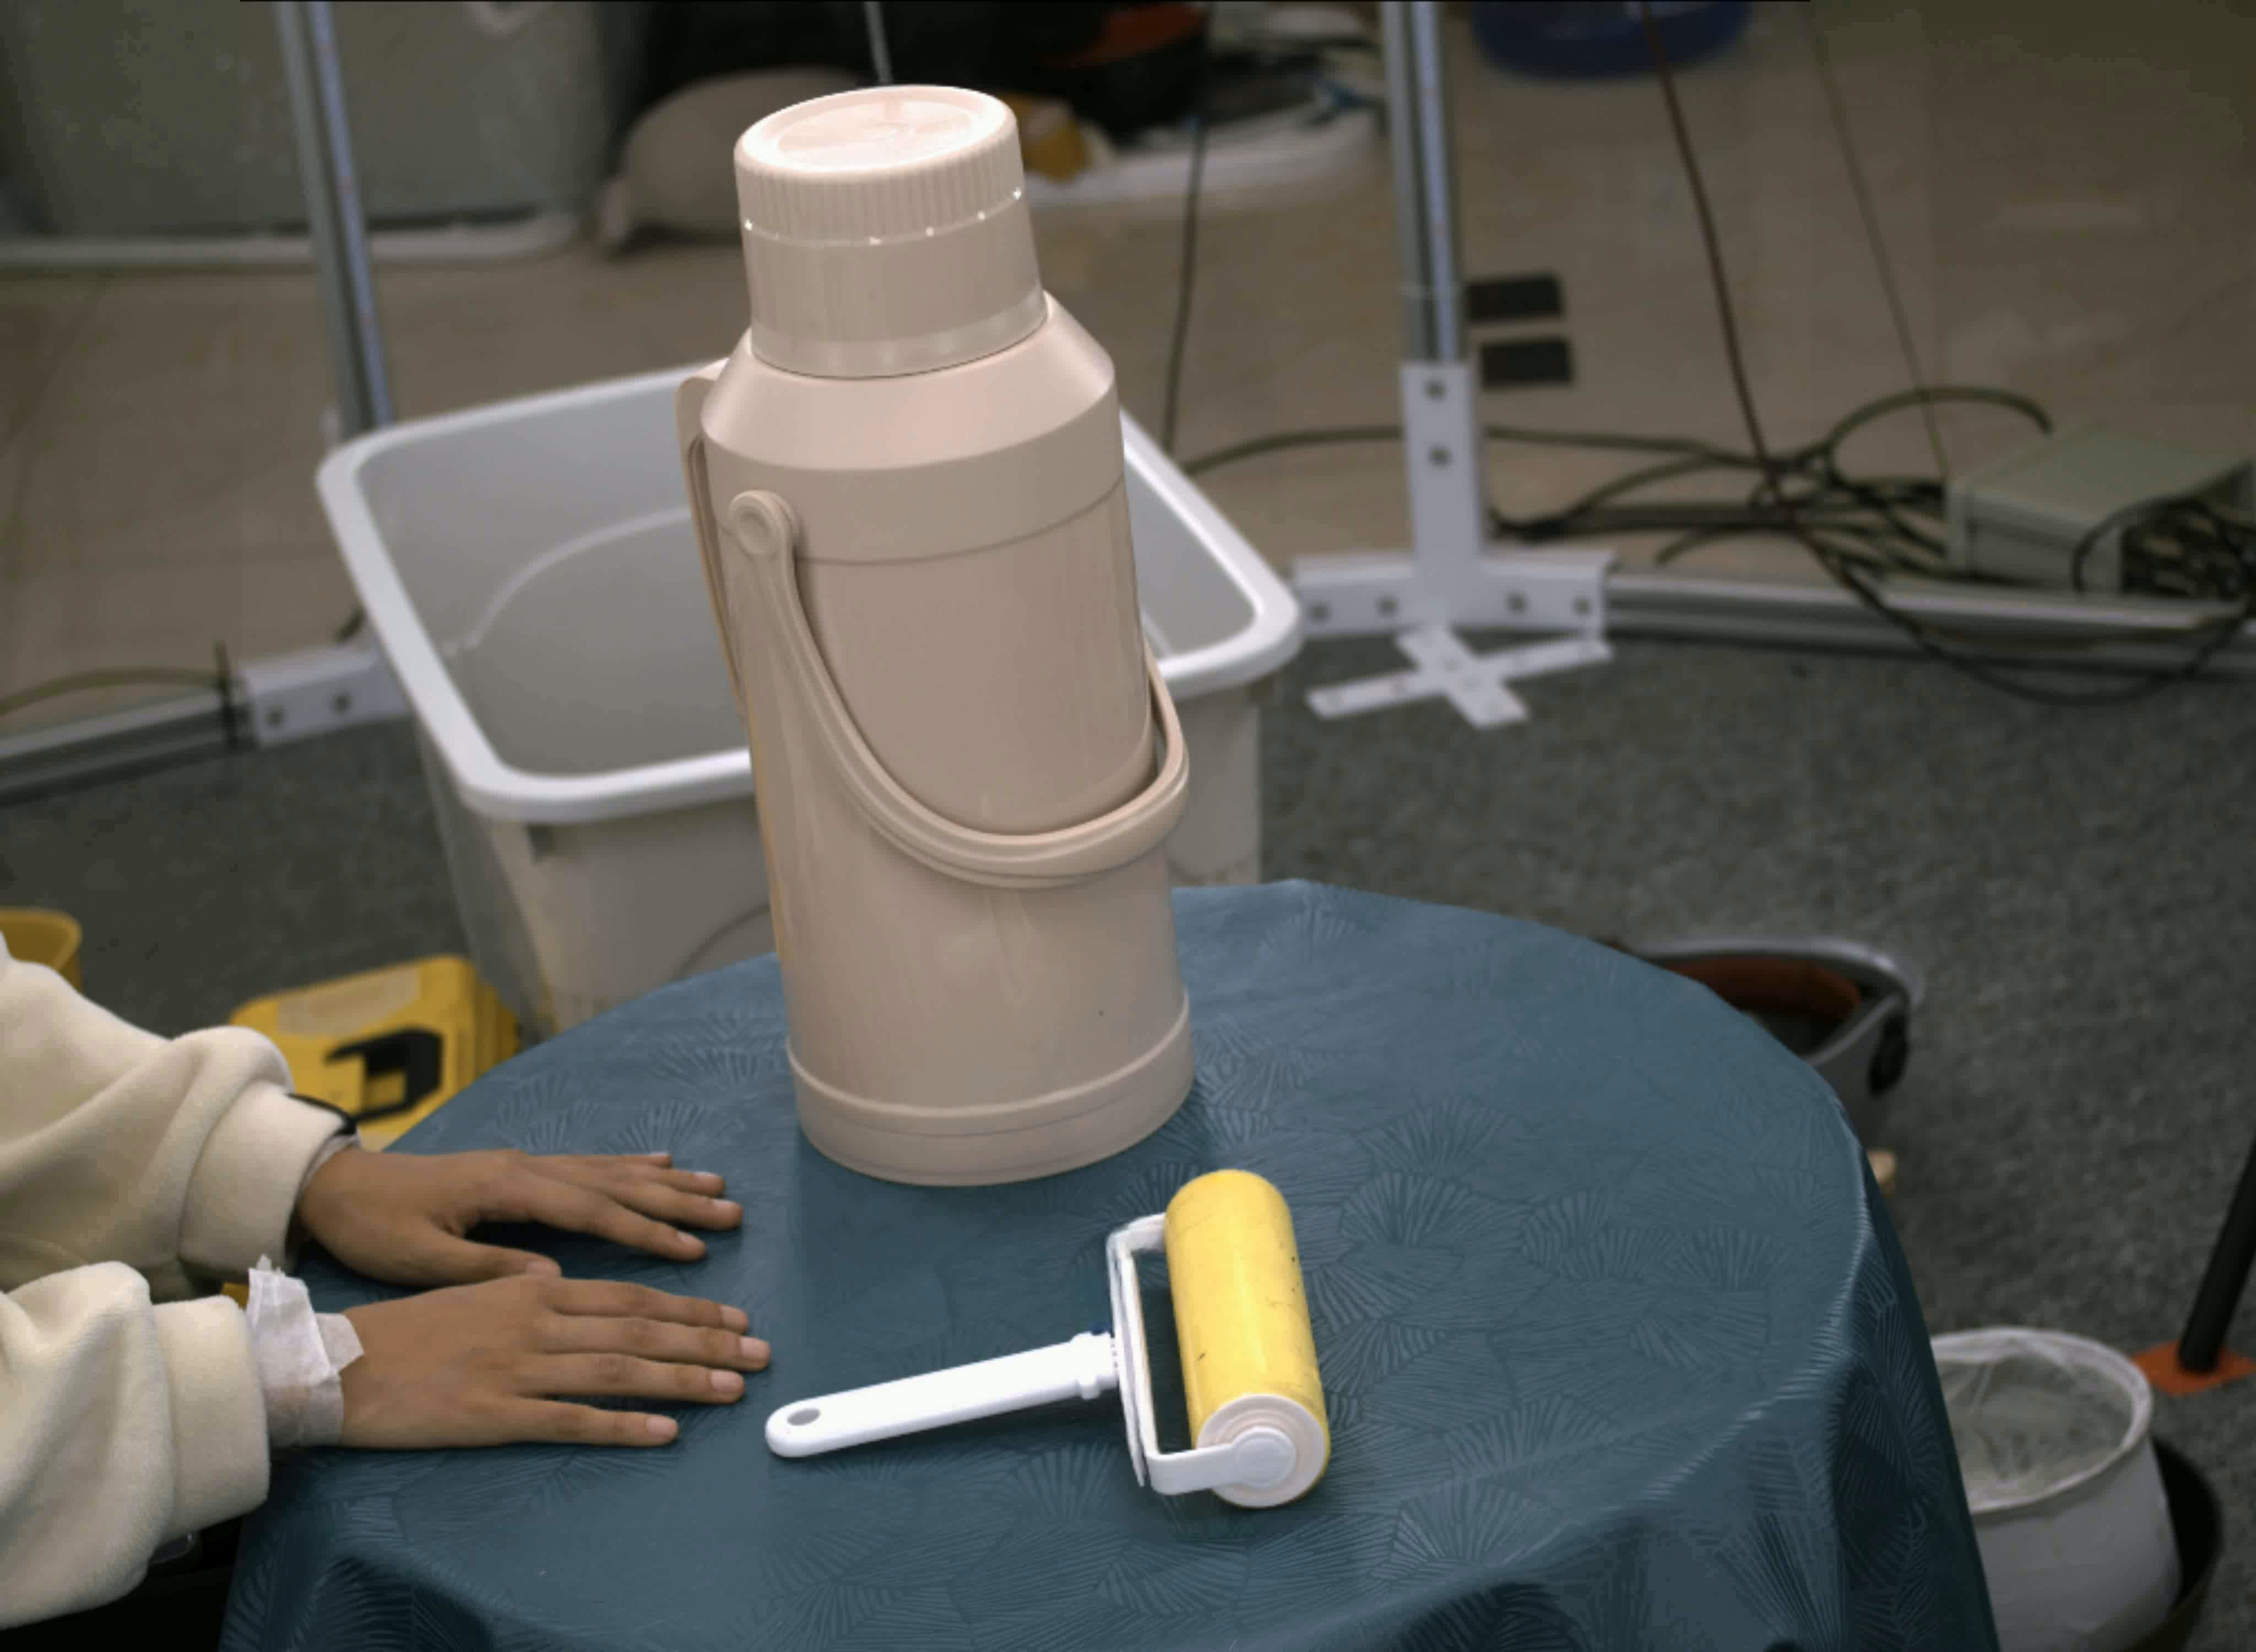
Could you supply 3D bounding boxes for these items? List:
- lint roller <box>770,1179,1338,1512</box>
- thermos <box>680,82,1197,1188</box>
[{"bbox_3d":[-0.030,0.185,1.992,0.192,0.052,0.172,-1,24,-4],"label":"lint roller"},{"bbox_3d":[-0.081,-0.077,2.154,0.205,0.413,0.173,16,34,38],"label":"thermos"}]
